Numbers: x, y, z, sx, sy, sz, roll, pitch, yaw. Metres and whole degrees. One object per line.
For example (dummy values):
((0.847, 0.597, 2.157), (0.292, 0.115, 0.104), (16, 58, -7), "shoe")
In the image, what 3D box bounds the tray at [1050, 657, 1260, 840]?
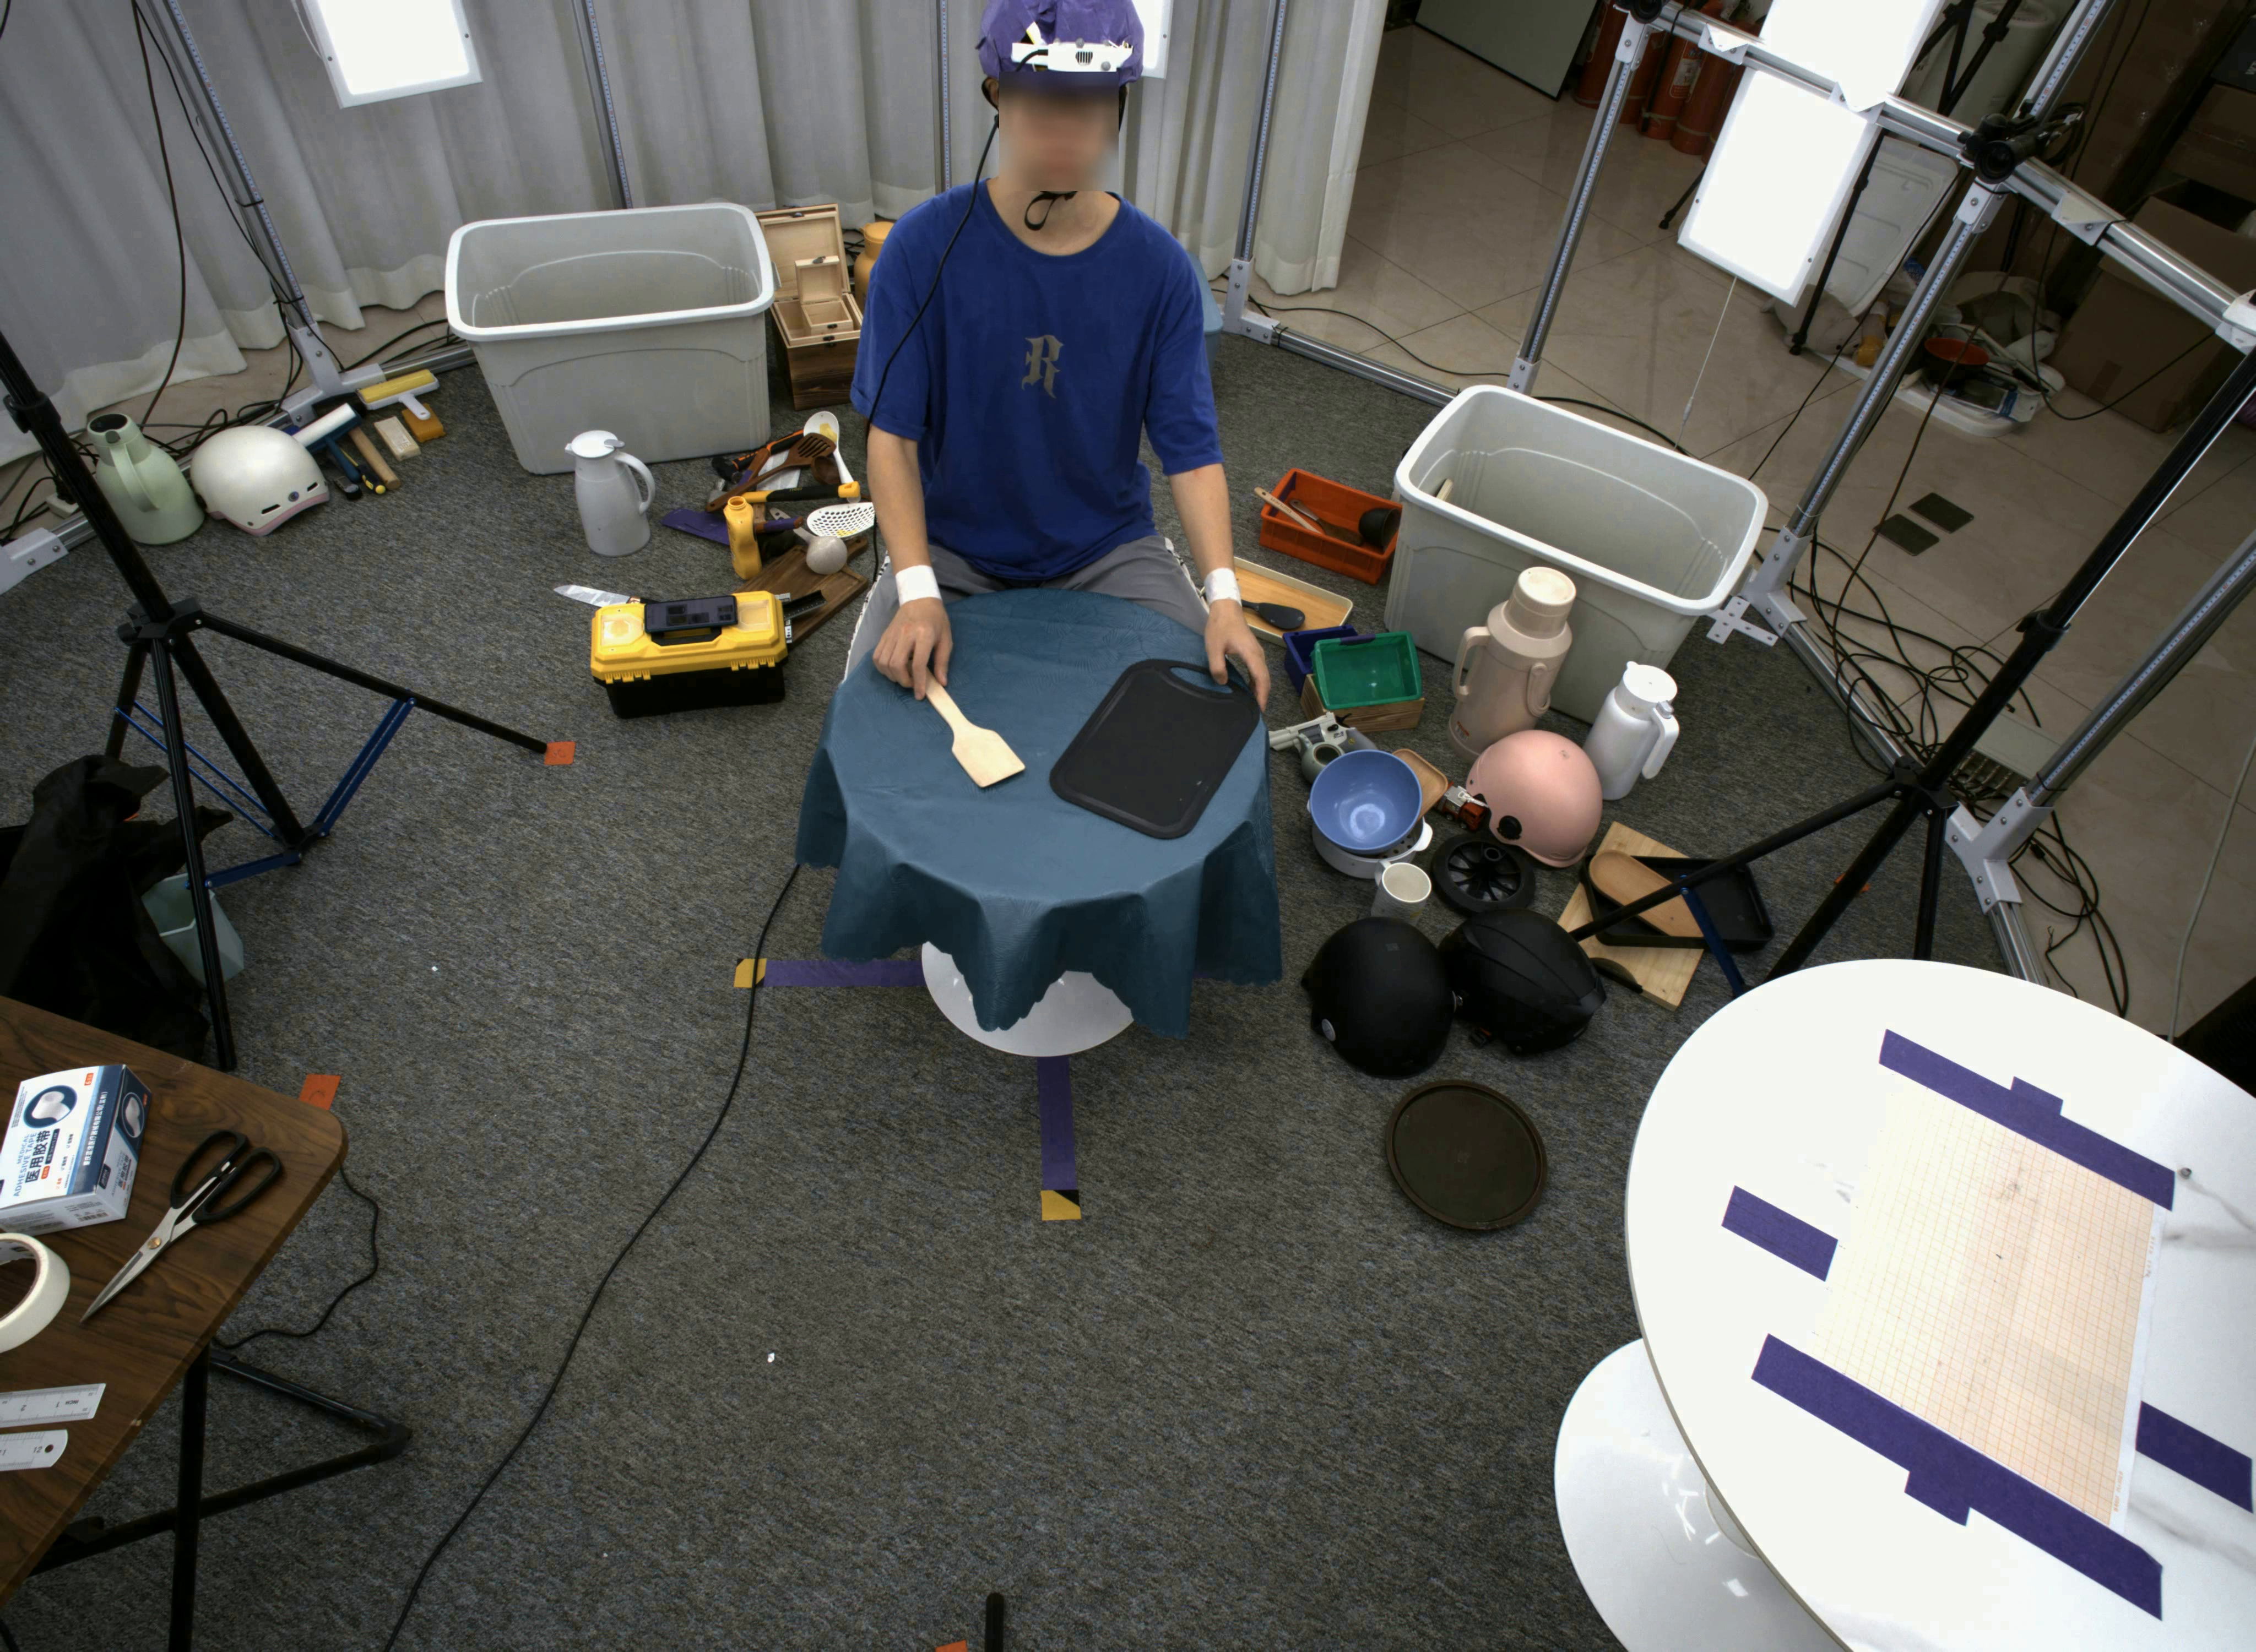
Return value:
((0.045, -0.121, 1.776), (0.212, 0.009, 0.331), (23, 52, 15), "tray")

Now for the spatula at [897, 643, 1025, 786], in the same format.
((-0.246, -0.162, 1.791), (0.072, 0.010, 0.299), (-25, 56, -22), "spatula")
